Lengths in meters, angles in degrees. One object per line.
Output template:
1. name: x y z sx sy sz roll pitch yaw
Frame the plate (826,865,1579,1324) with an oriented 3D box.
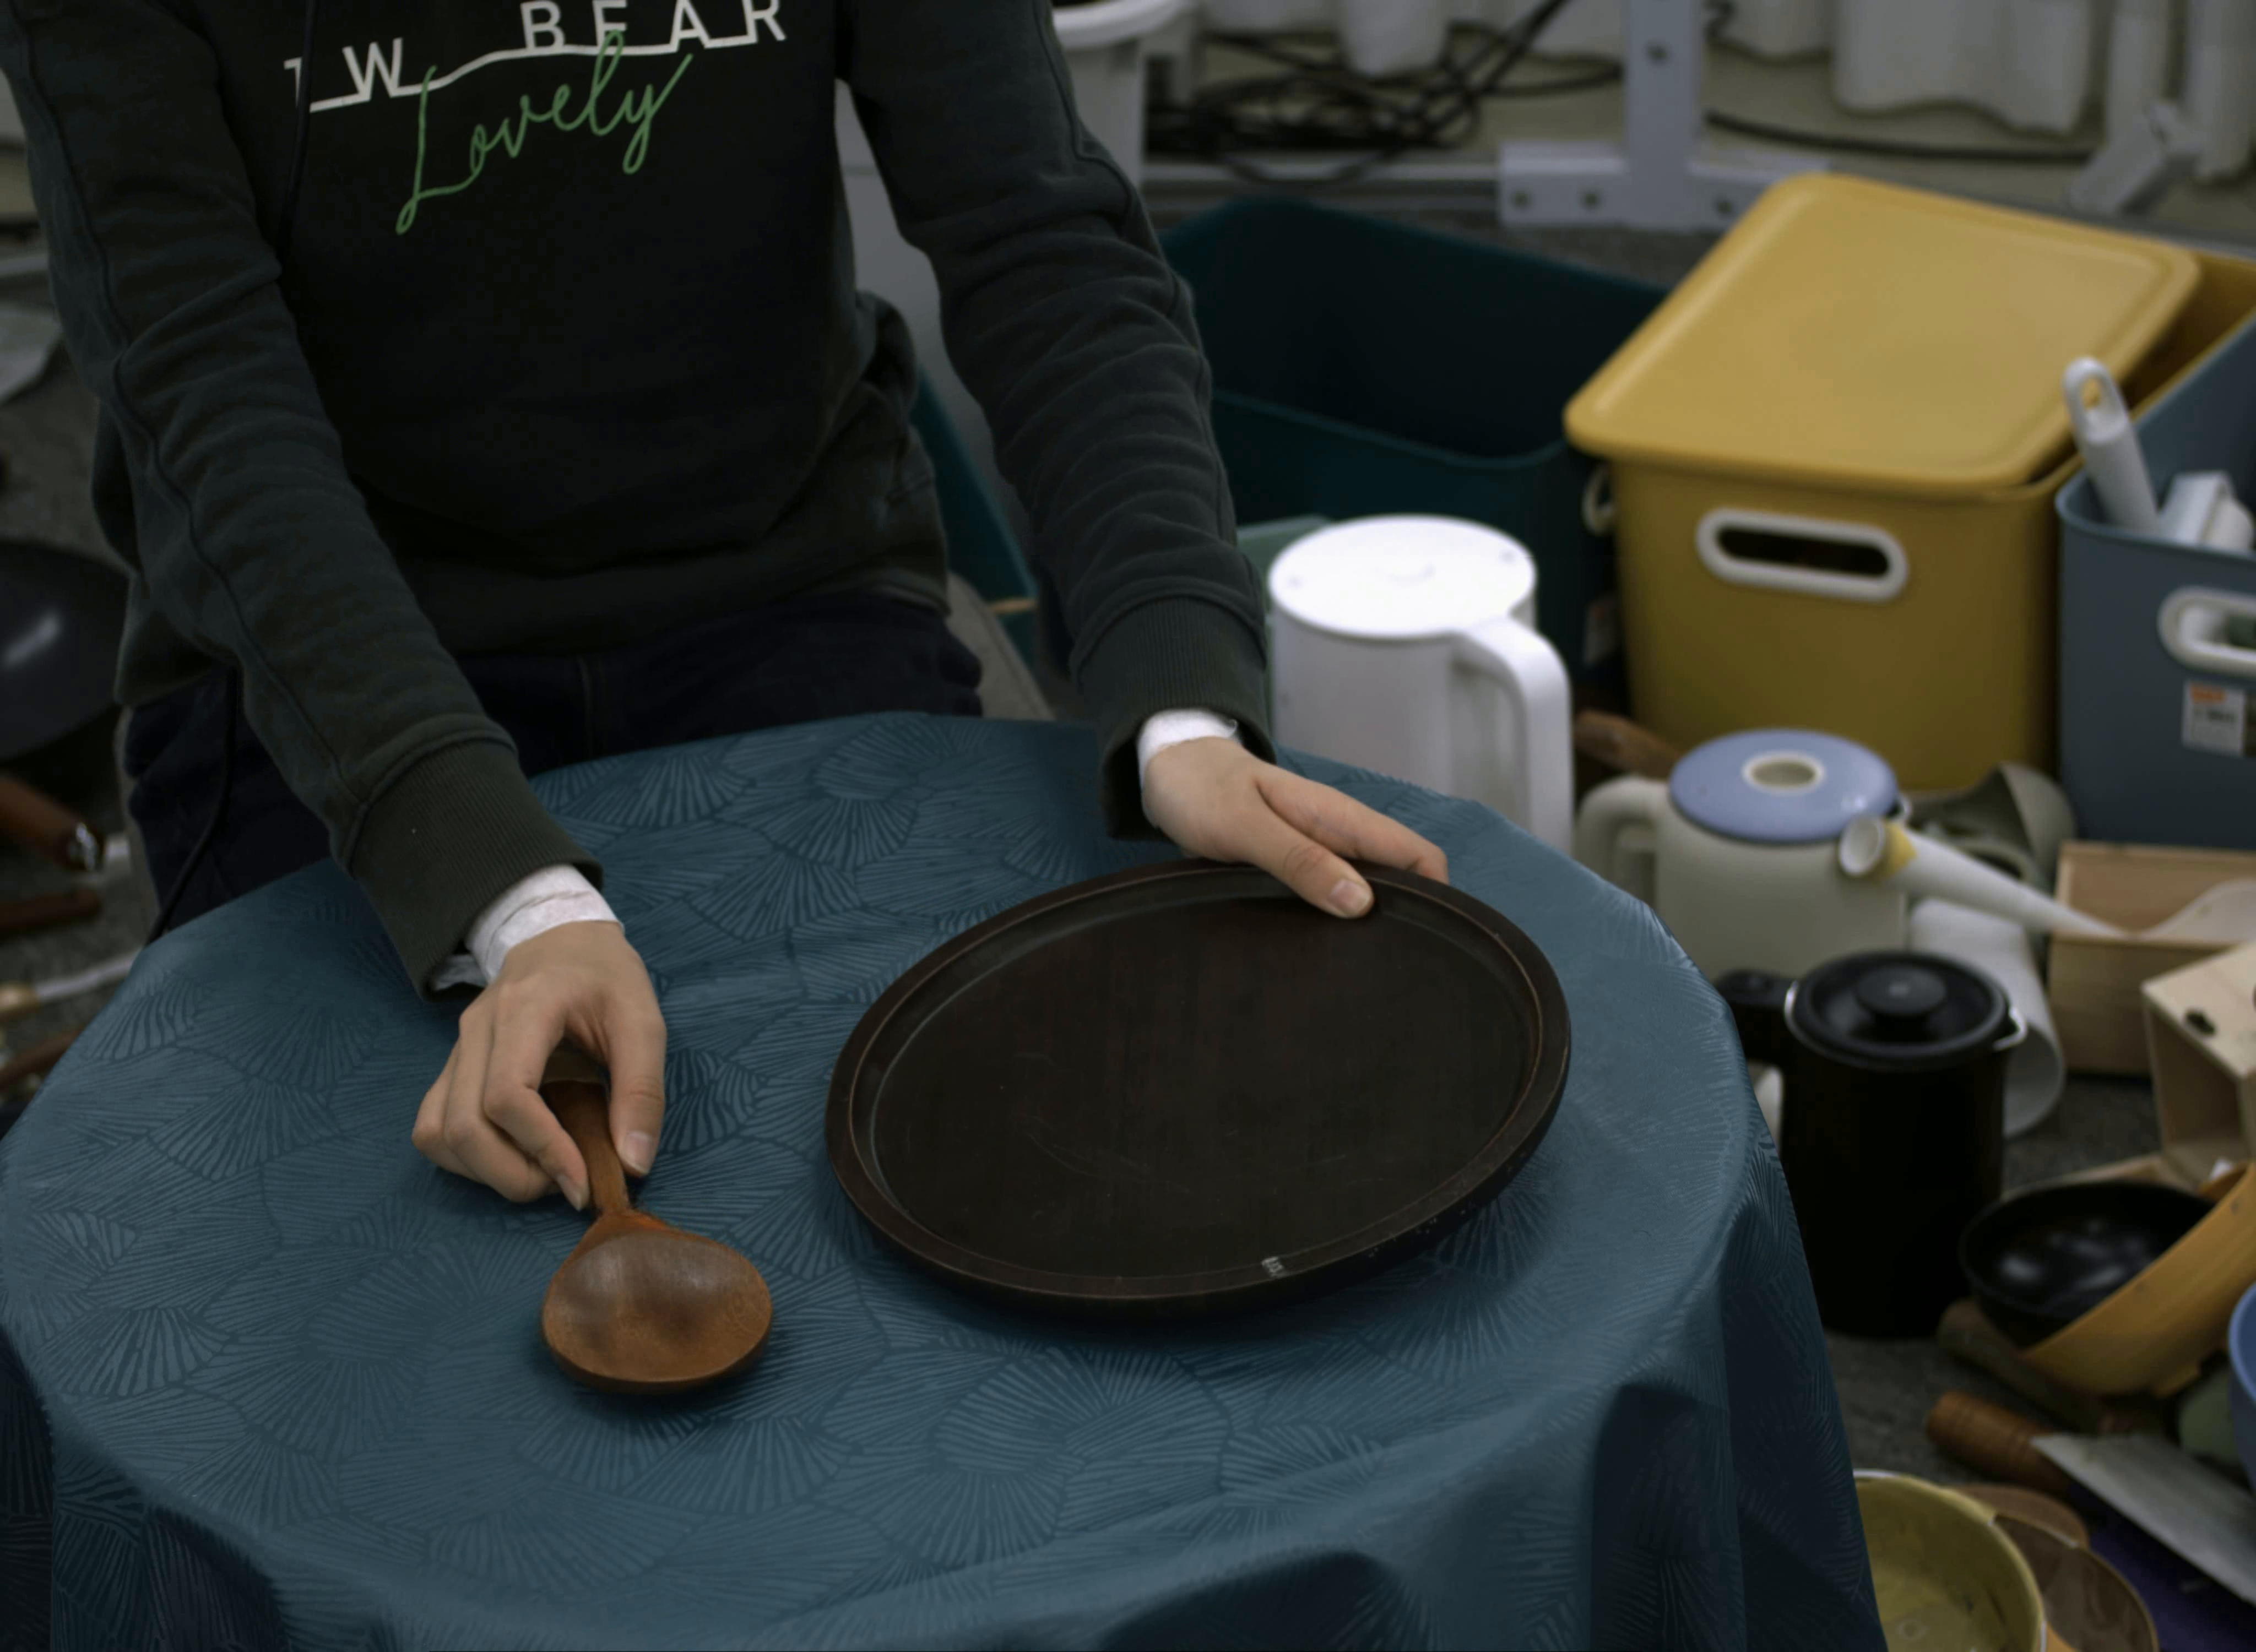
1. plate: 0.024 0.087 1.872 0.253 0.028 0.259 -6 32 4

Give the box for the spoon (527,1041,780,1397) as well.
1. spoon: -0.166 0.129 1.840 0.075 0.017 0.218 -10 30 -13
